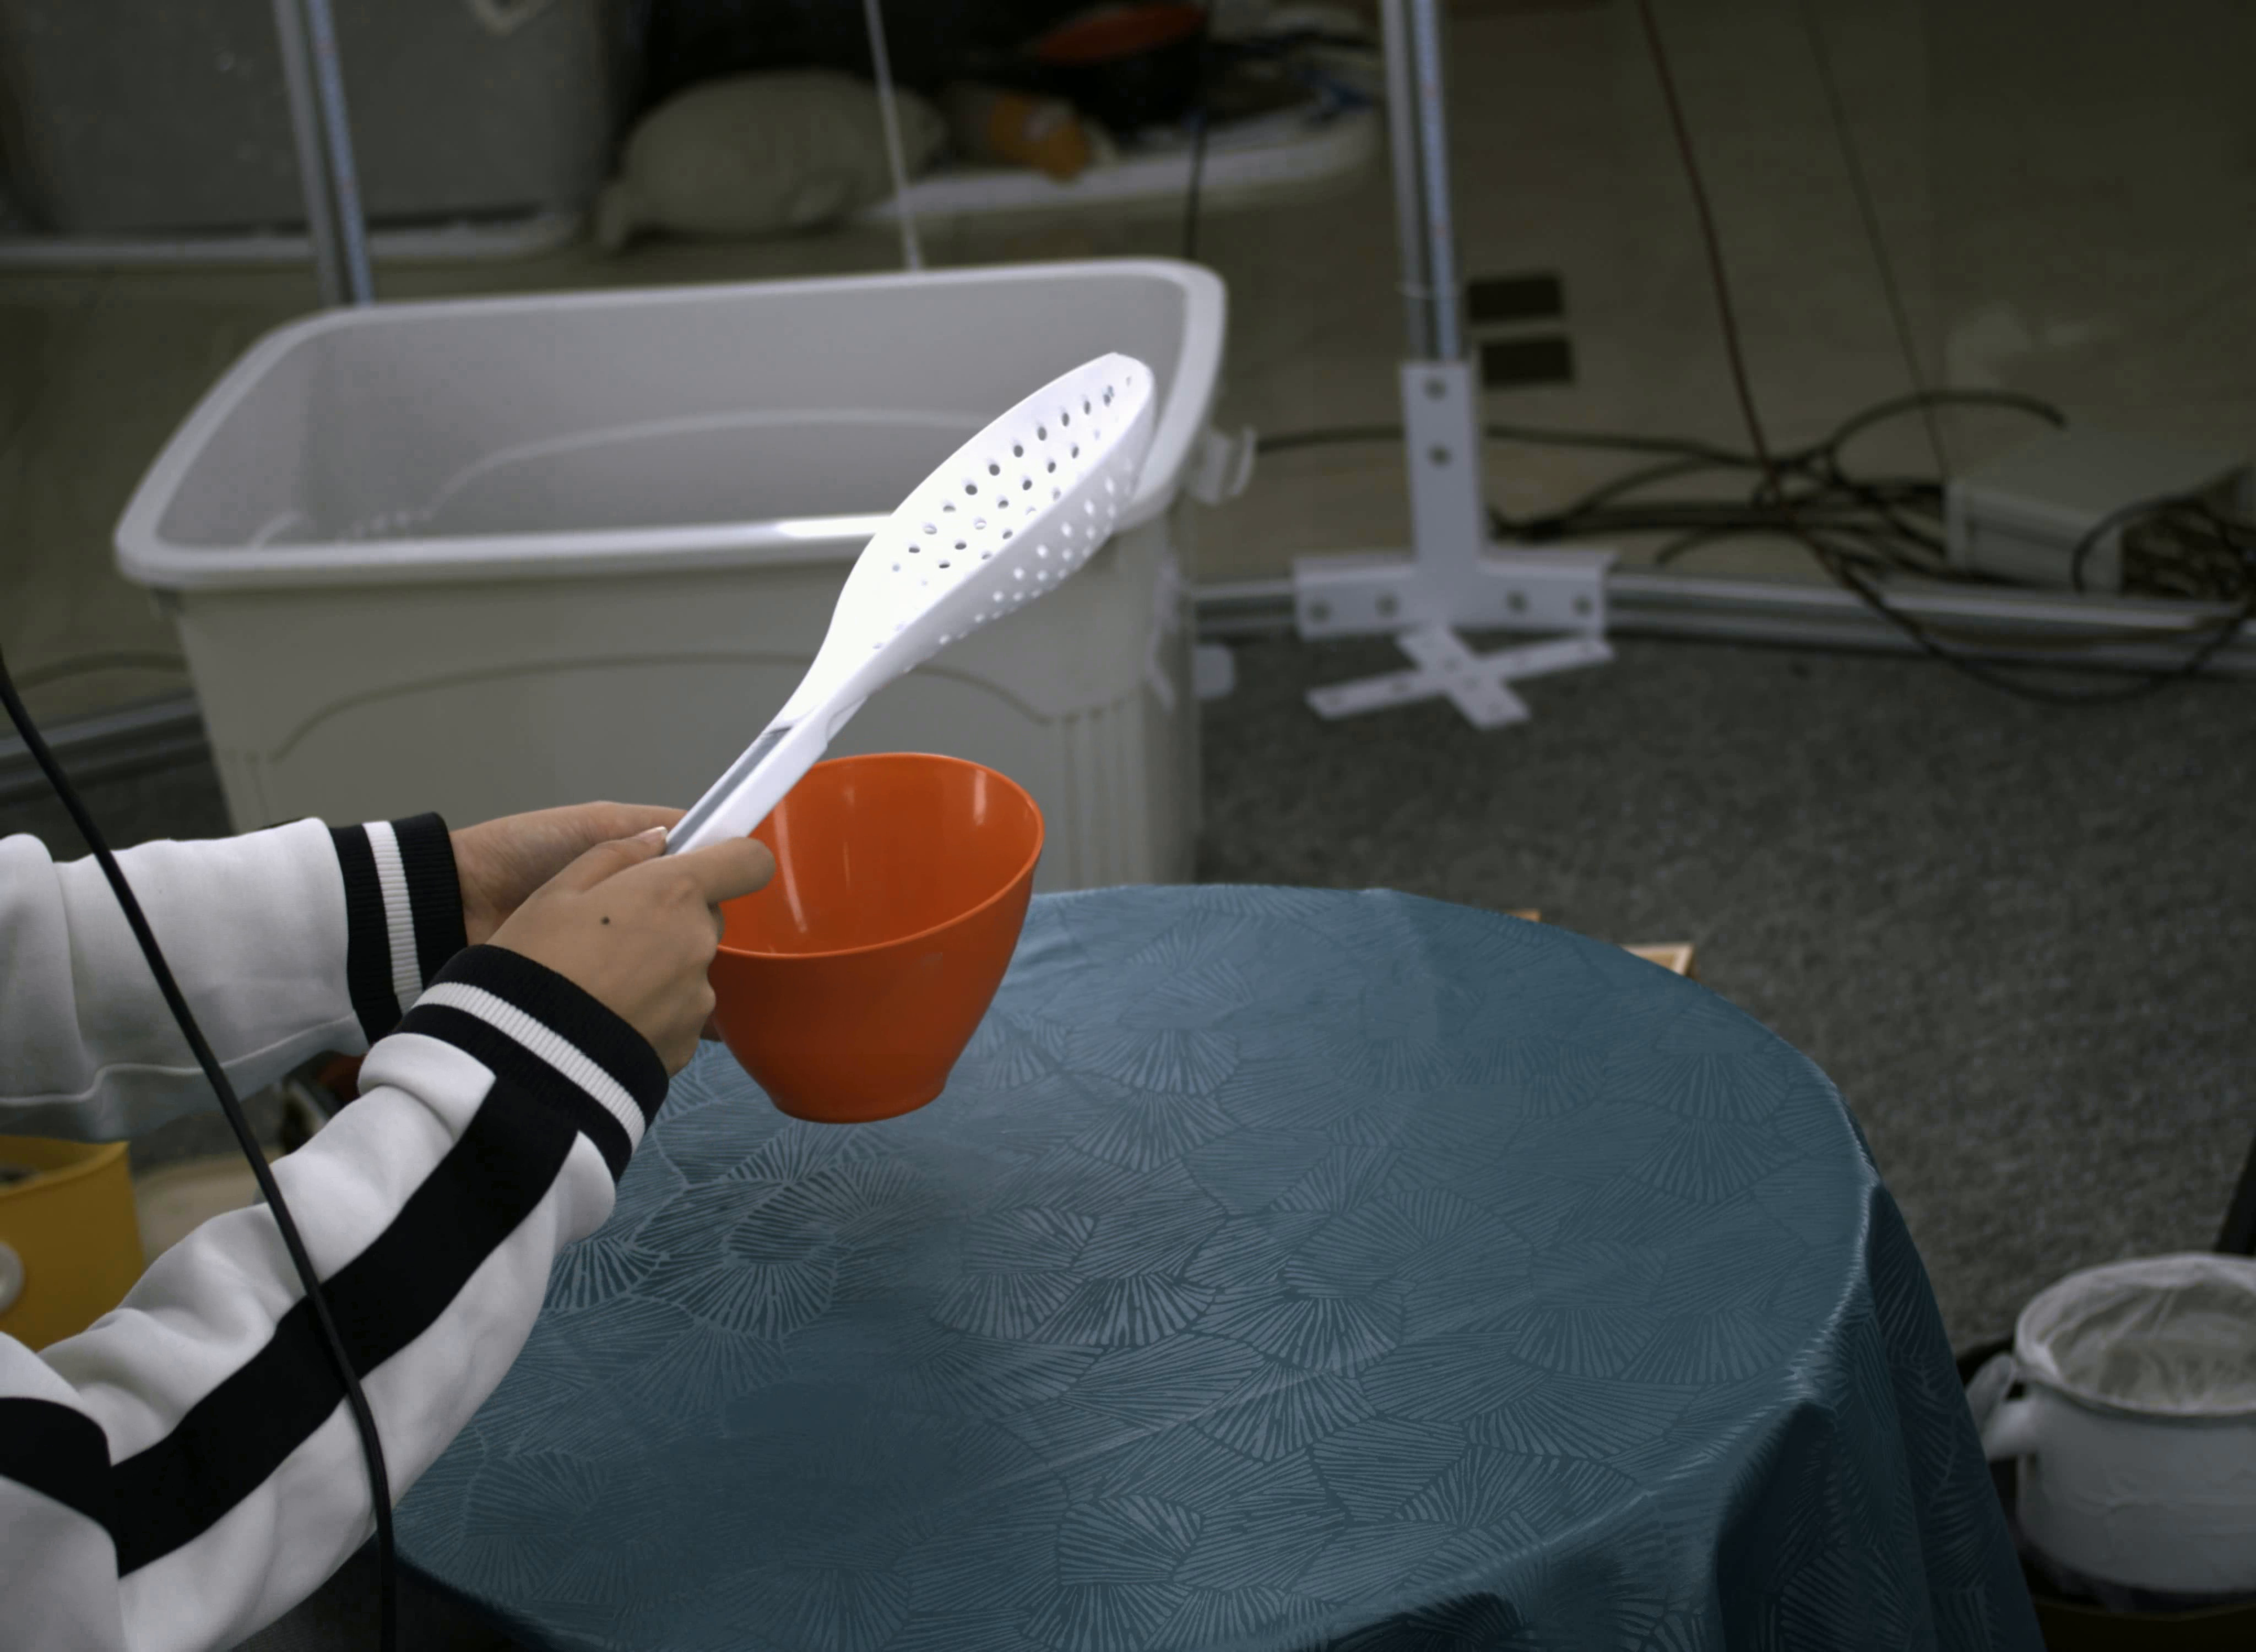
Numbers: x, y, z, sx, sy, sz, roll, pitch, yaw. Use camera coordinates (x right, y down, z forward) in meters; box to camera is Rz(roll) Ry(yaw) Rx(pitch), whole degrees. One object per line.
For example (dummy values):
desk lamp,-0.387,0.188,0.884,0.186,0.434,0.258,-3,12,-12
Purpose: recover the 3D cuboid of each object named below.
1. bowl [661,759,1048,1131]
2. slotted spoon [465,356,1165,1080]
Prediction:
bowl,-0.101,0.050,2.125,0.148,0.106,0.146,-3,22,1
slotted spoon,-0.103,-0.039,1.908,0.346,0.046,0.136,-44,20,-27
